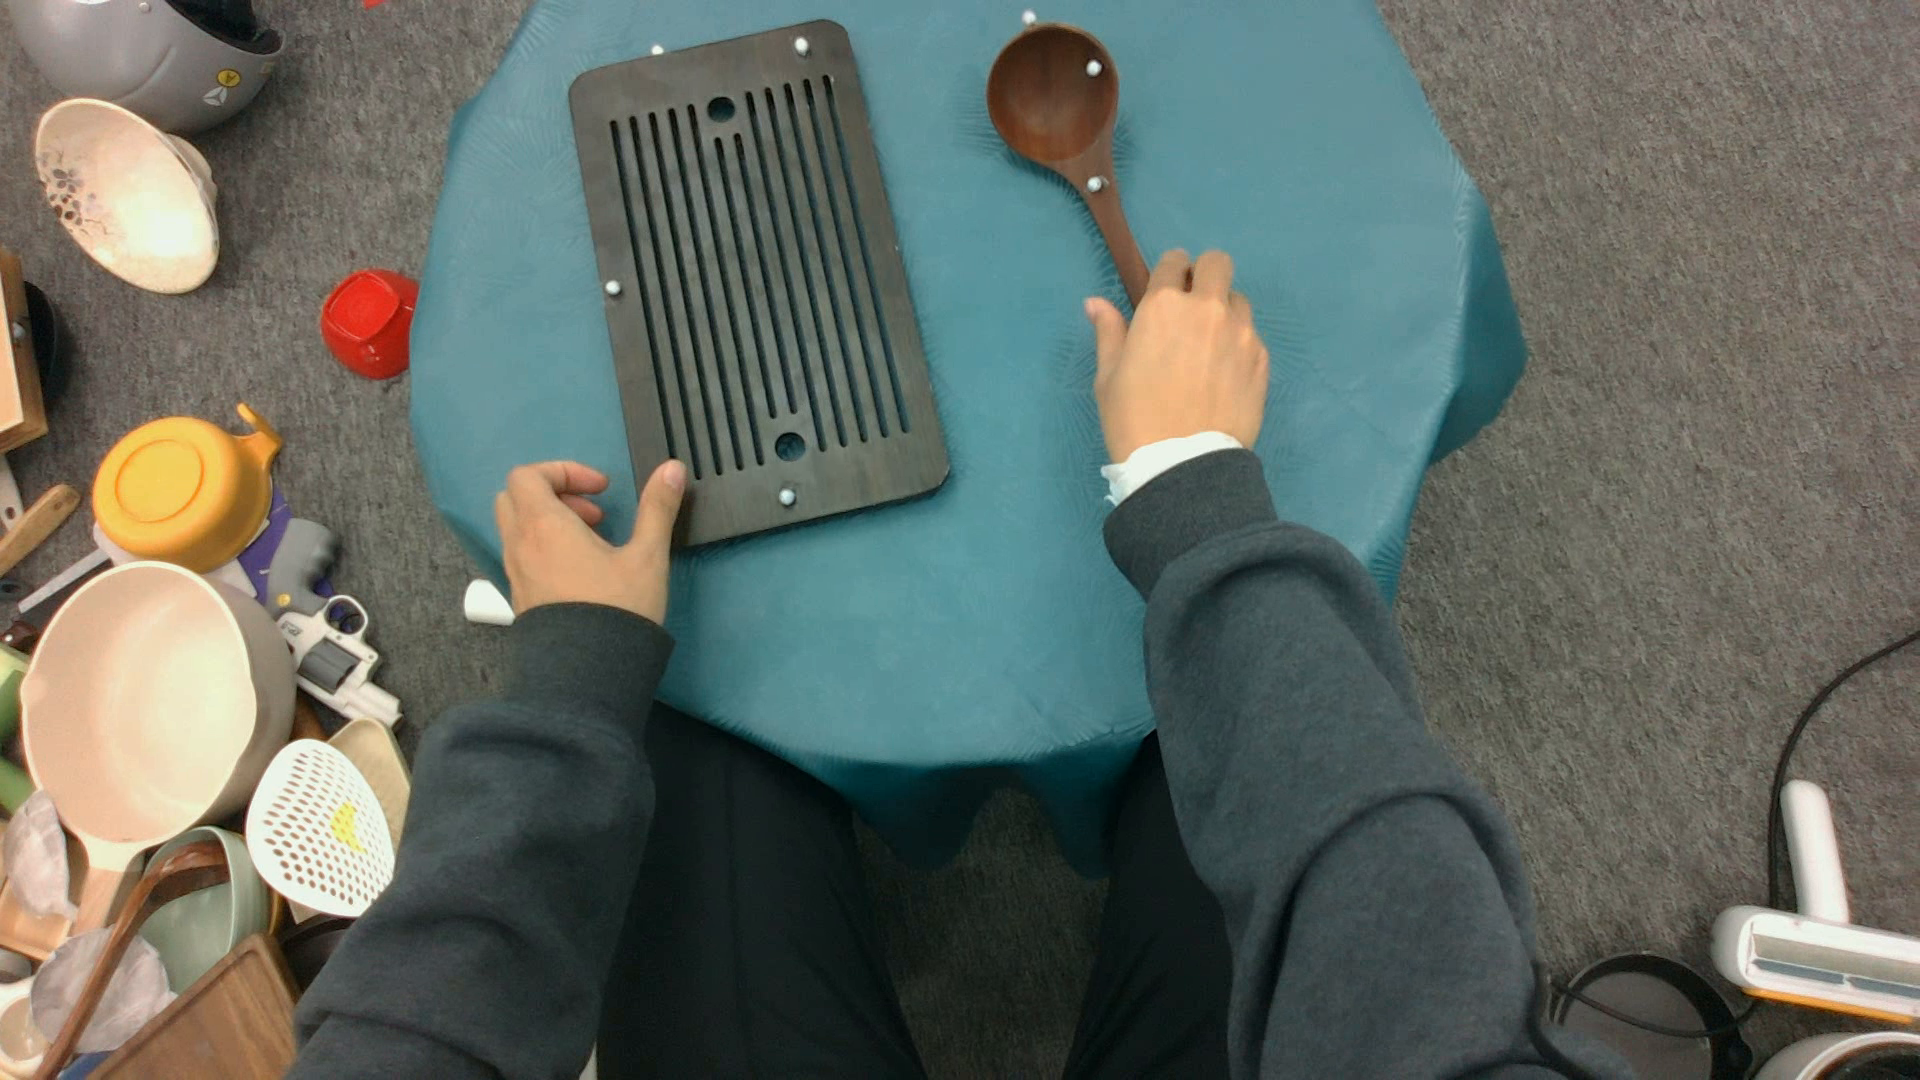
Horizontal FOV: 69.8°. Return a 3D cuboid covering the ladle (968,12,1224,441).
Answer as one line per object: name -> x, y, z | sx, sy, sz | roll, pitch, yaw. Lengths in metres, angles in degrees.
ladle -> 0.078, -0.173, 0.758 | 0.076, 0.065, 0.260 | -28, 73, 22

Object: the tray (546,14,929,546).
tray -> -0.131, -0.154, 0.783 | 0.170, 0.018, 0.306 | -13, 74, -2
